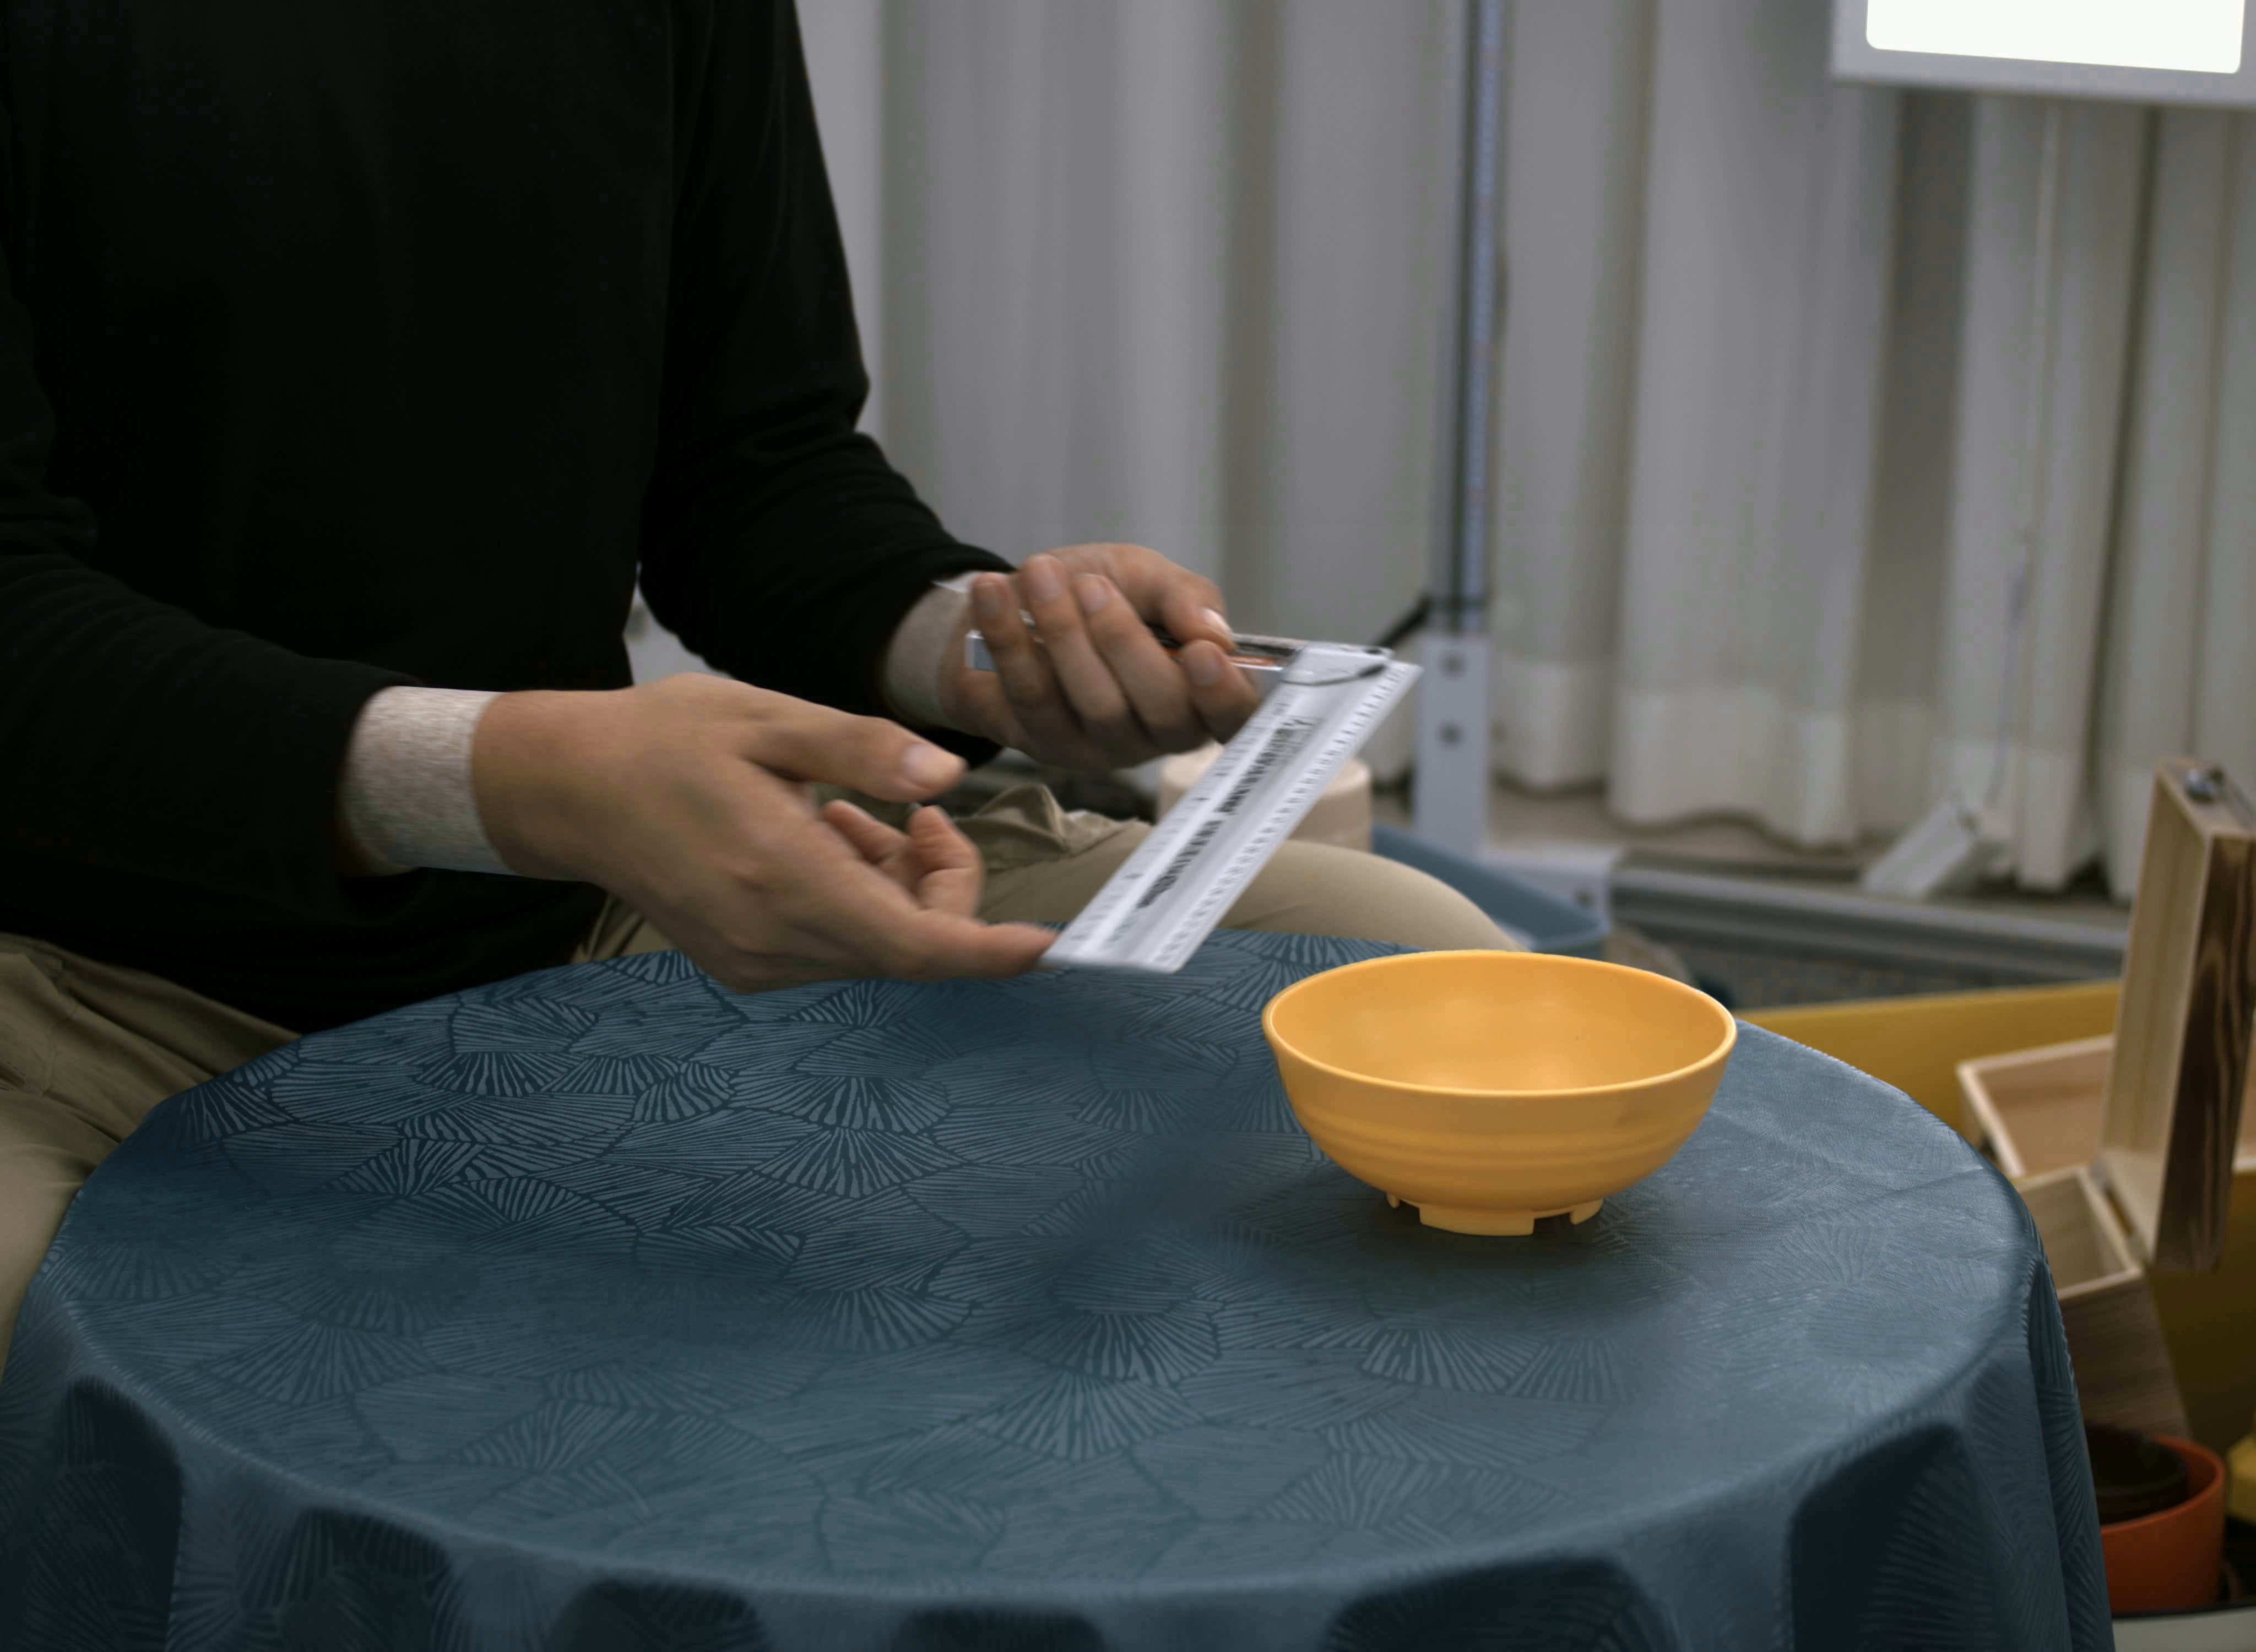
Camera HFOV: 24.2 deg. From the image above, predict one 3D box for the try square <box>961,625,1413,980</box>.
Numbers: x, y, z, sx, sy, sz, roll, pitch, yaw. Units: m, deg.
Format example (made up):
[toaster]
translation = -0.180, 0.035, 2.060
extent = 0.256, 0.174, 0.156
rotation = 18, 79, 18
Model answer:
[try square]
translation = -0.018, -0.011, 1.661
extent = 0.151, 0.016, 0.312
rotation = 3, 20, 16

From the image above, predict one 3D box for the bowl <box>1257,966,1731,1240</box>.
[bowl]
translation = 0.110, 0.088, 1.607
extent = 0.145, 0.060, 0.144
rotation = 2, 13, 0
